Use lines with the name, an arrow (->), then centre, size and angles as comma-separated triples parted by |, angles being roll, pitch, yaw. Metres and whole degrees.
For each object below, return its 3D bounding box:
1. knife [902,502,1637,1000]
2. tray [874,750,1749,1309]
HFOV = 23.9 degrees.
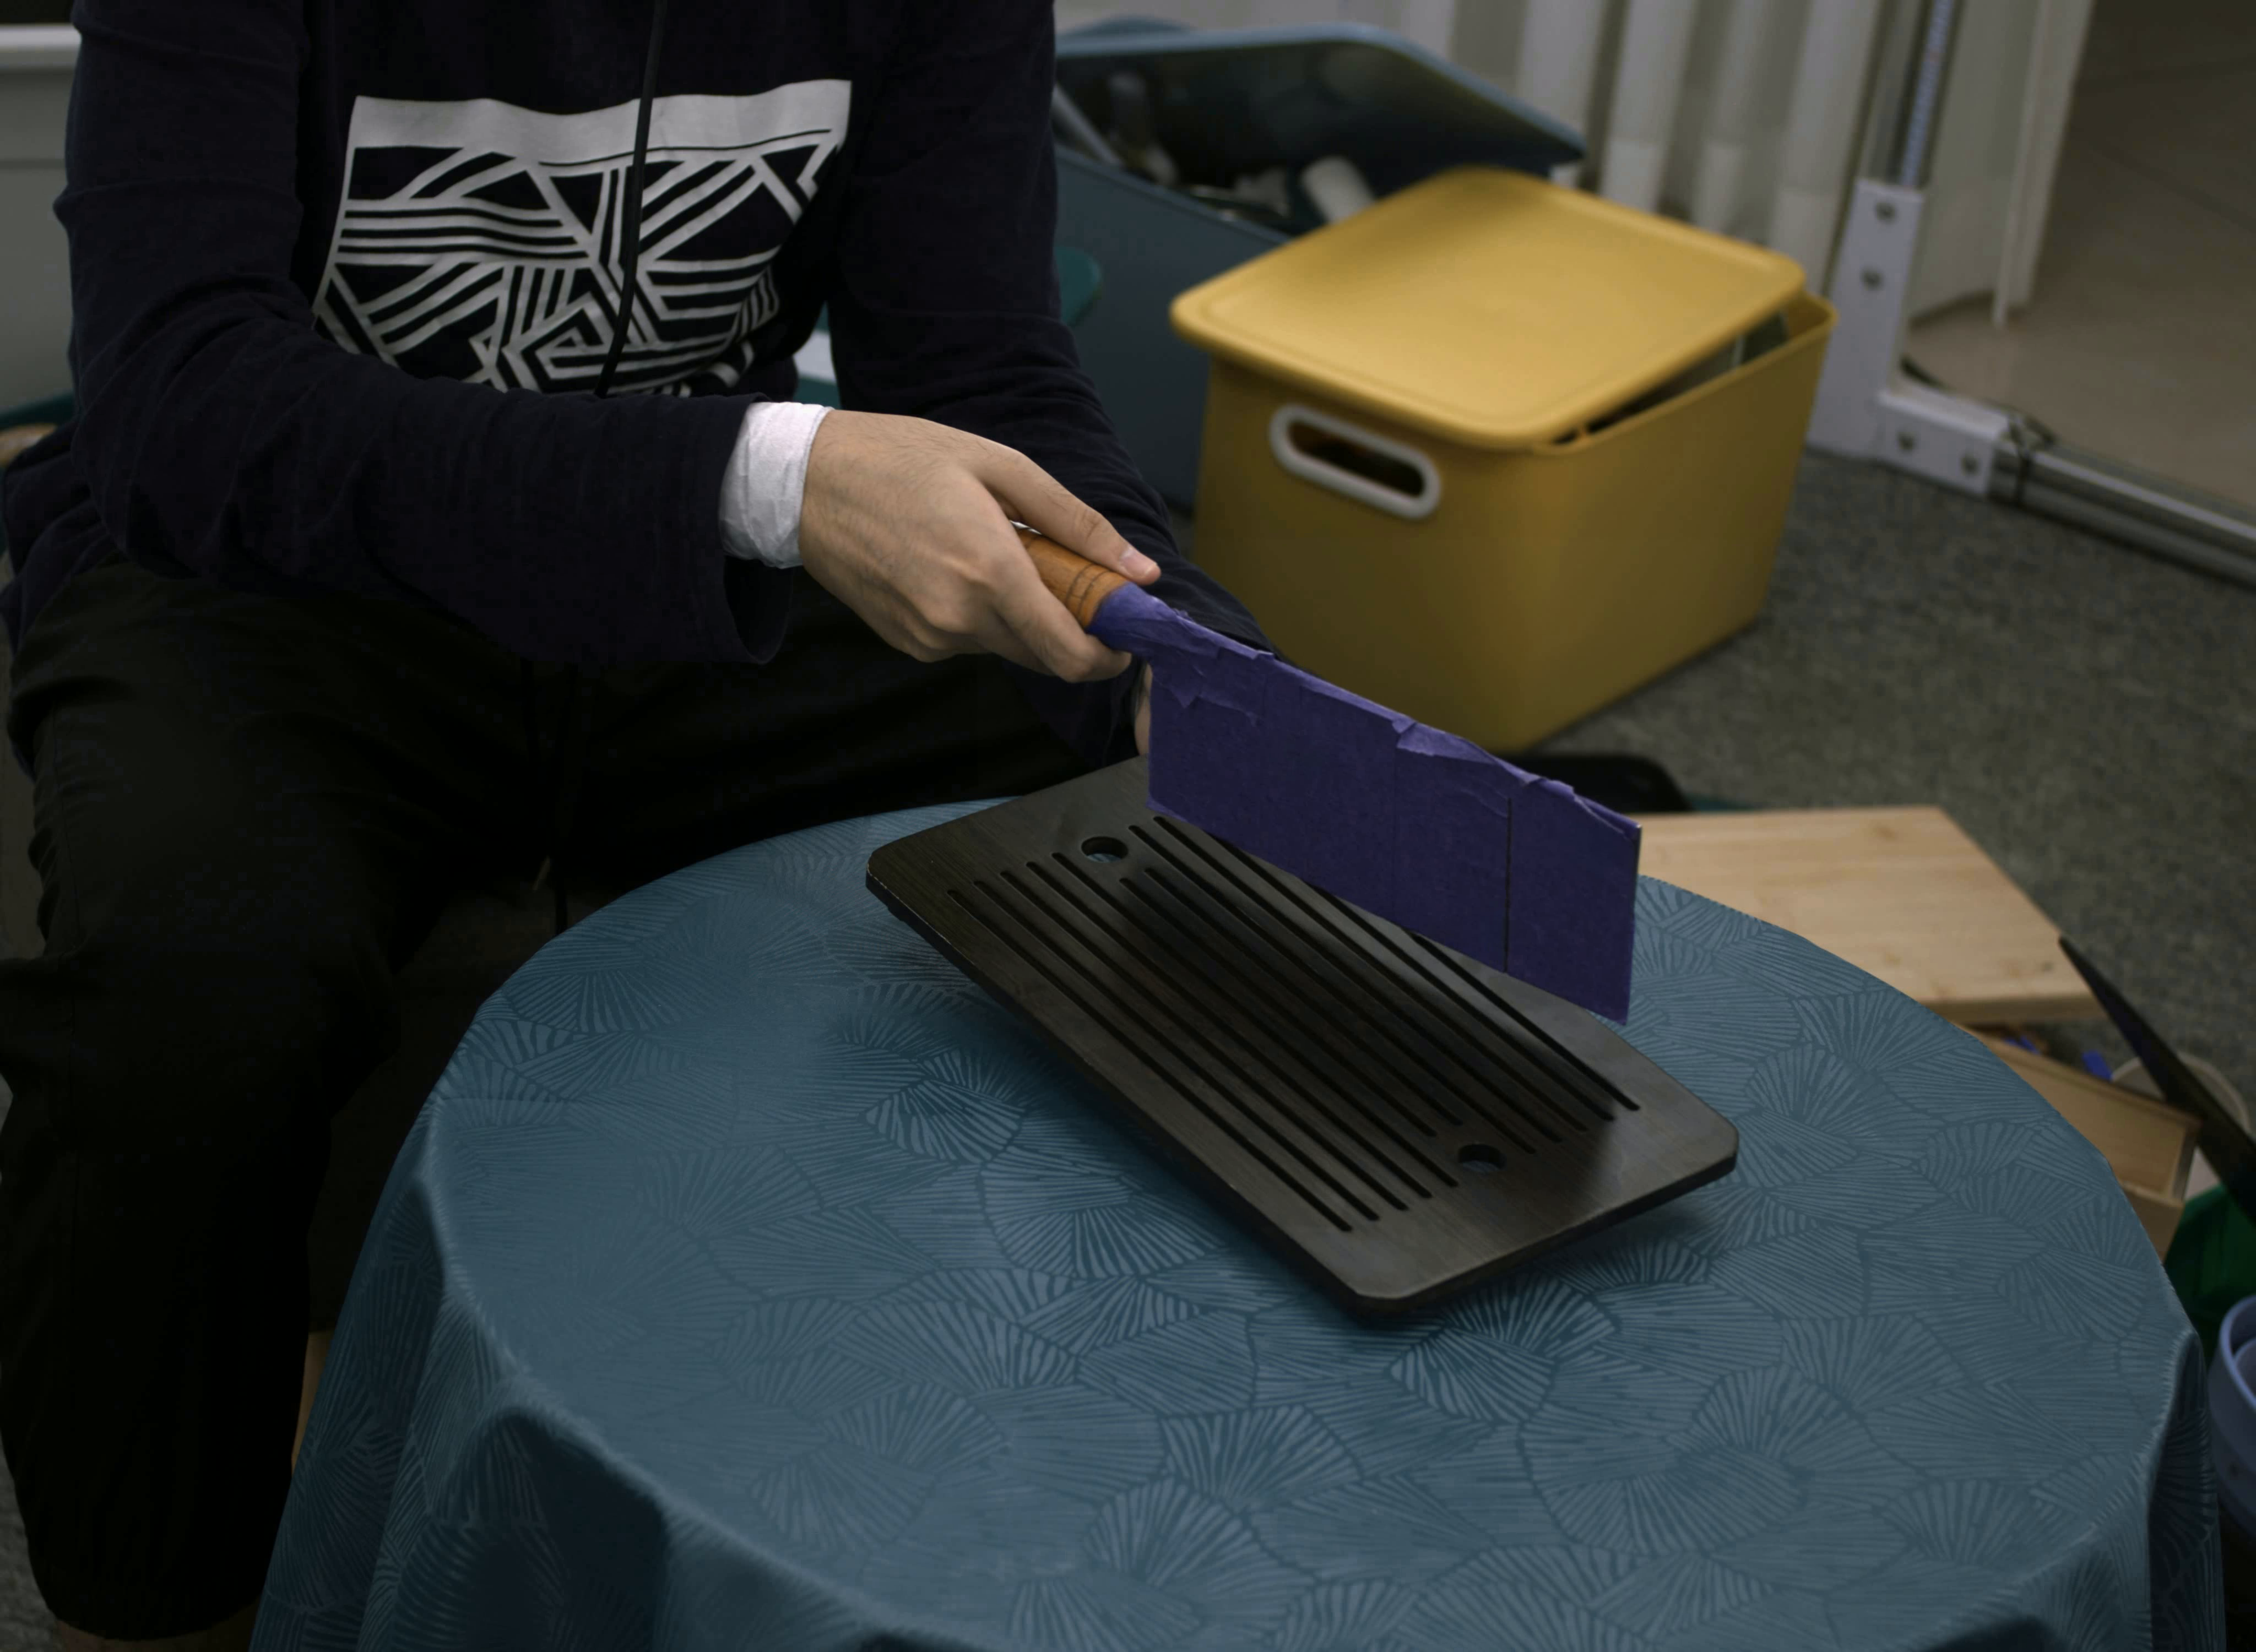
knife -> 0.047, -0.023, 1.888 | 0.317, 0.103, 0.032 | 26, 43, 31
tray -> 0.060, 0.065, 1.876 | 0.169, 0.018, 0.308 | -20, 40, -31
